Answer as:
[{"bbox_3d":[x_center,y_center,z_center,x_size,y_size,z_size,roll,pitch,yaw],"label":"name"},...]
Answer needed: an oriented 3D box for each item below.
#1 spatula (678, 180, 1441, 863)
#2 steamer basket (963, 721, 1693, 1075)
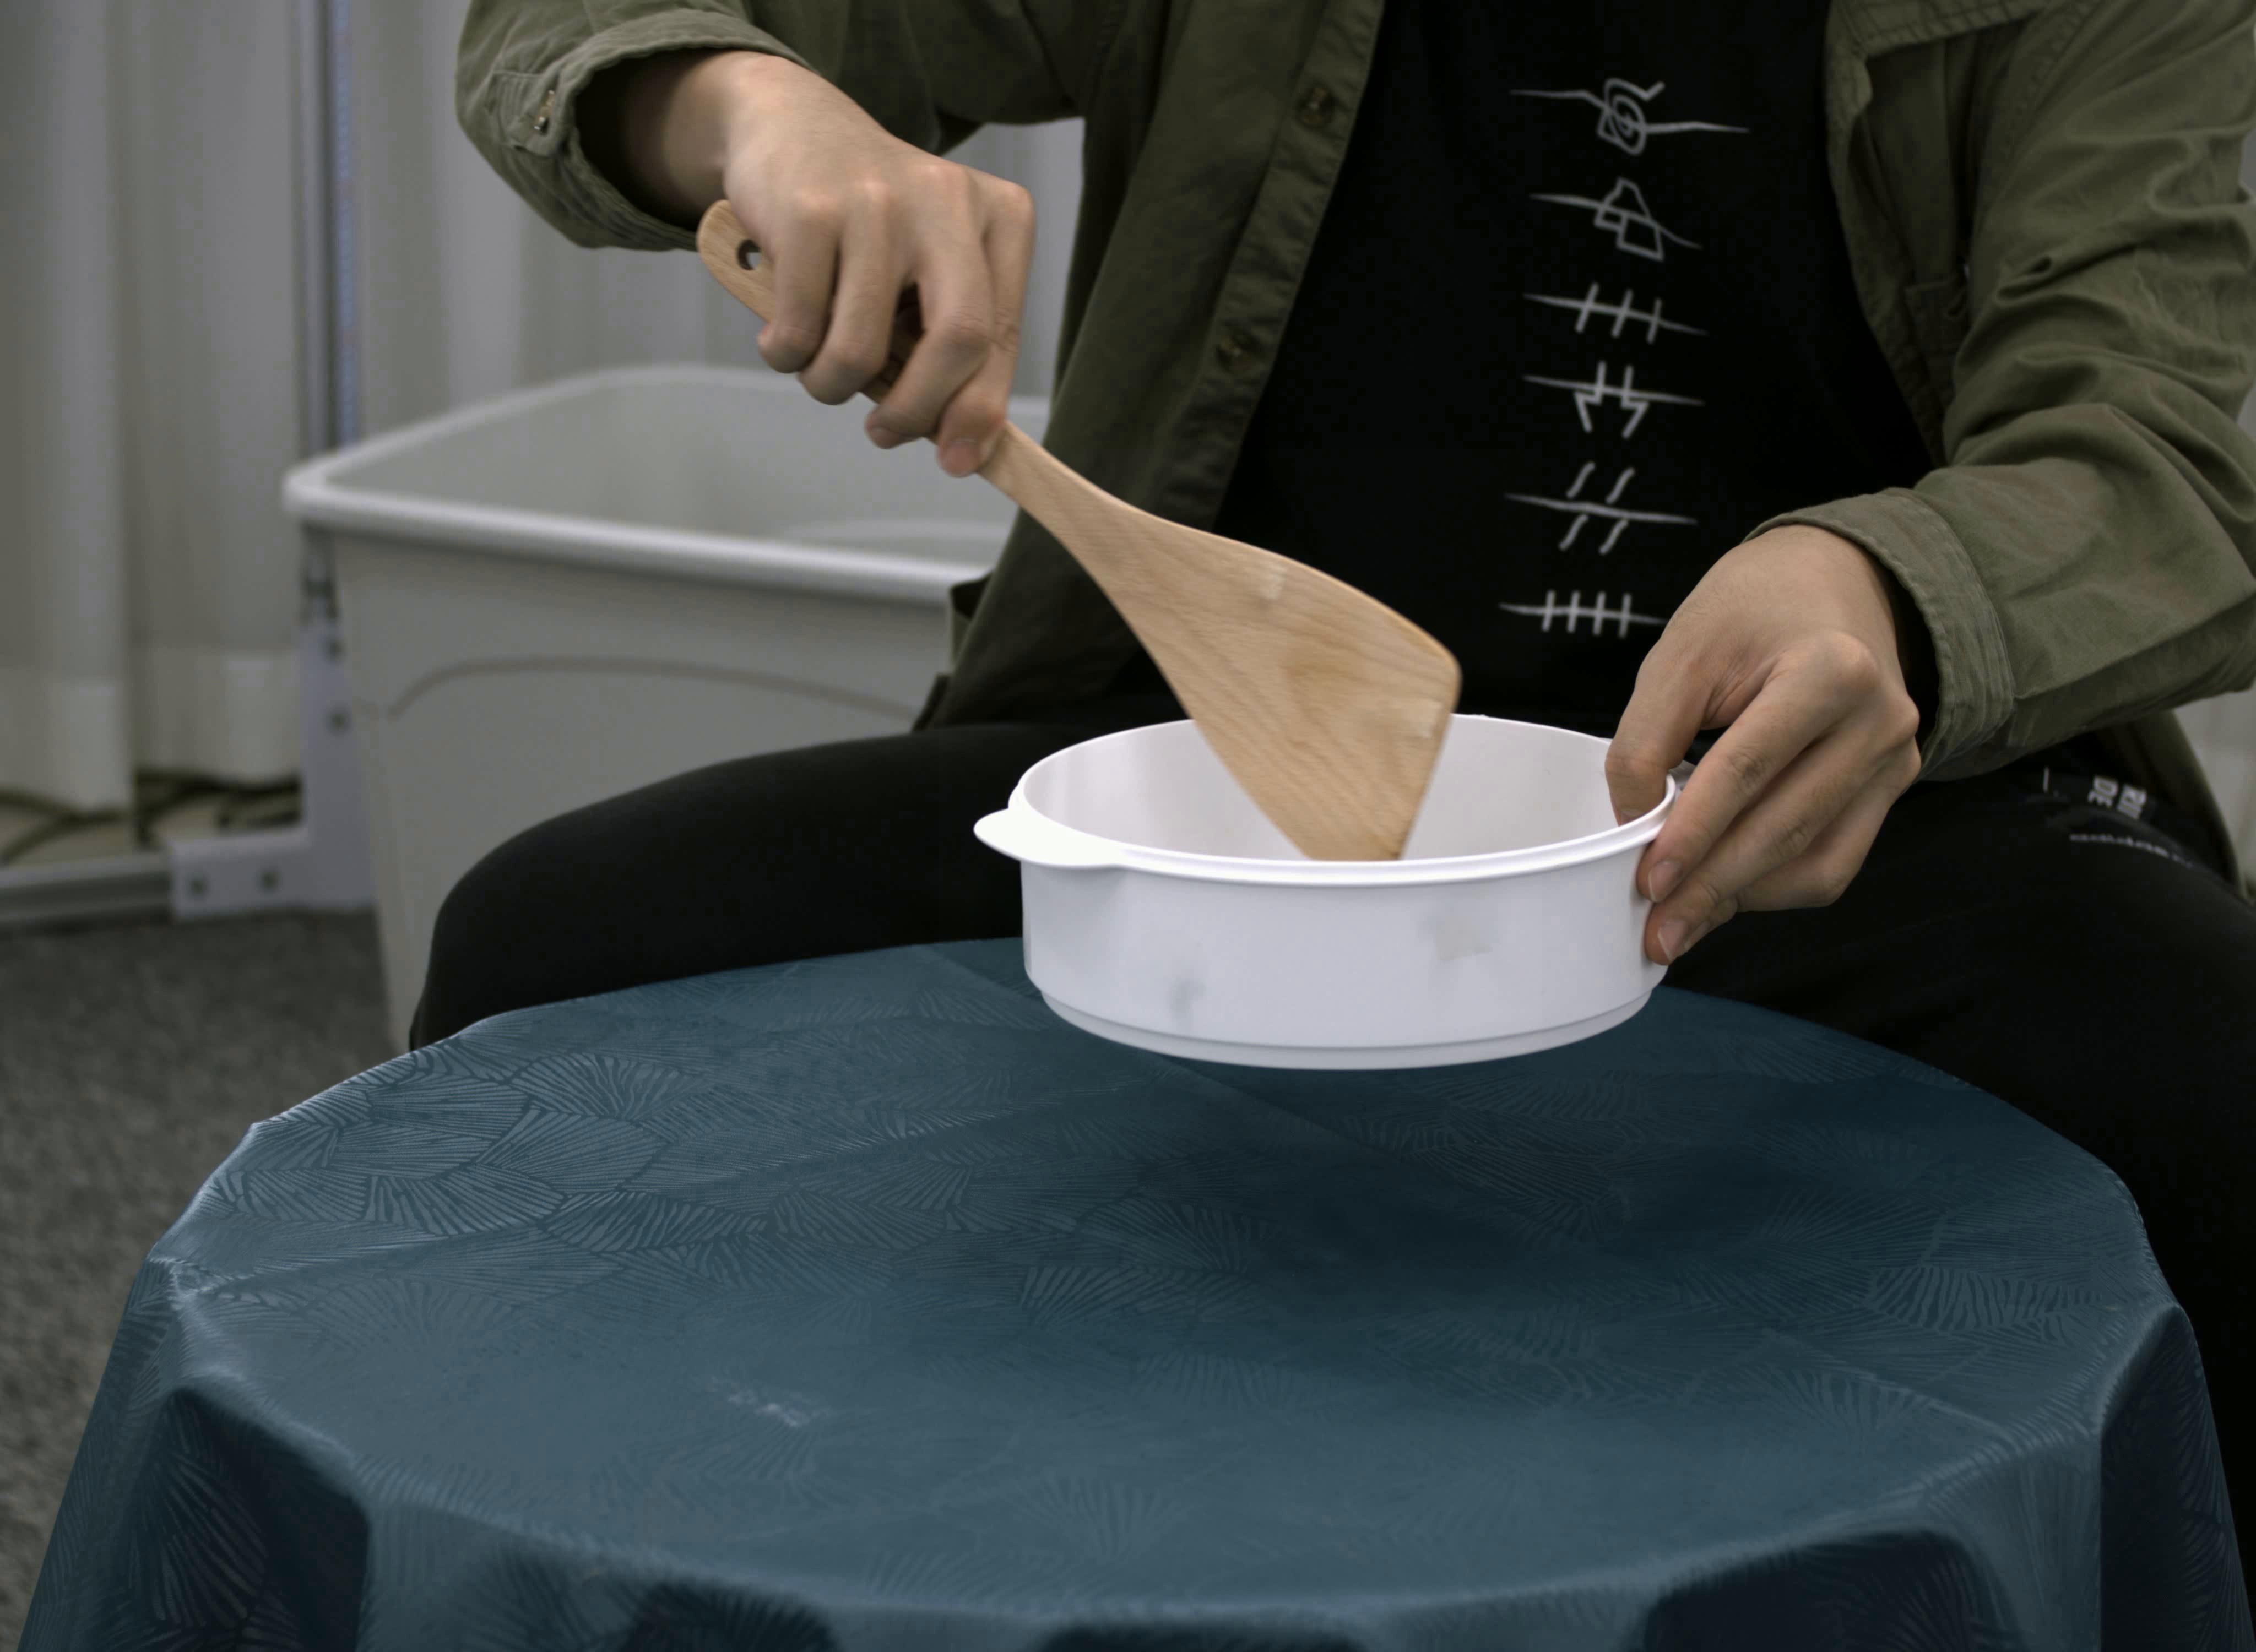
[{"bbox_3d":[-0.028,-0.107,1.607,0.324,0.080,0.016,39,25,24],"label":"spatula"},{"bbox_3d":[0.061,0.021,1.580,0.231,0.070,0.199,-6,15,-26],"label":"steamer basket"}]
